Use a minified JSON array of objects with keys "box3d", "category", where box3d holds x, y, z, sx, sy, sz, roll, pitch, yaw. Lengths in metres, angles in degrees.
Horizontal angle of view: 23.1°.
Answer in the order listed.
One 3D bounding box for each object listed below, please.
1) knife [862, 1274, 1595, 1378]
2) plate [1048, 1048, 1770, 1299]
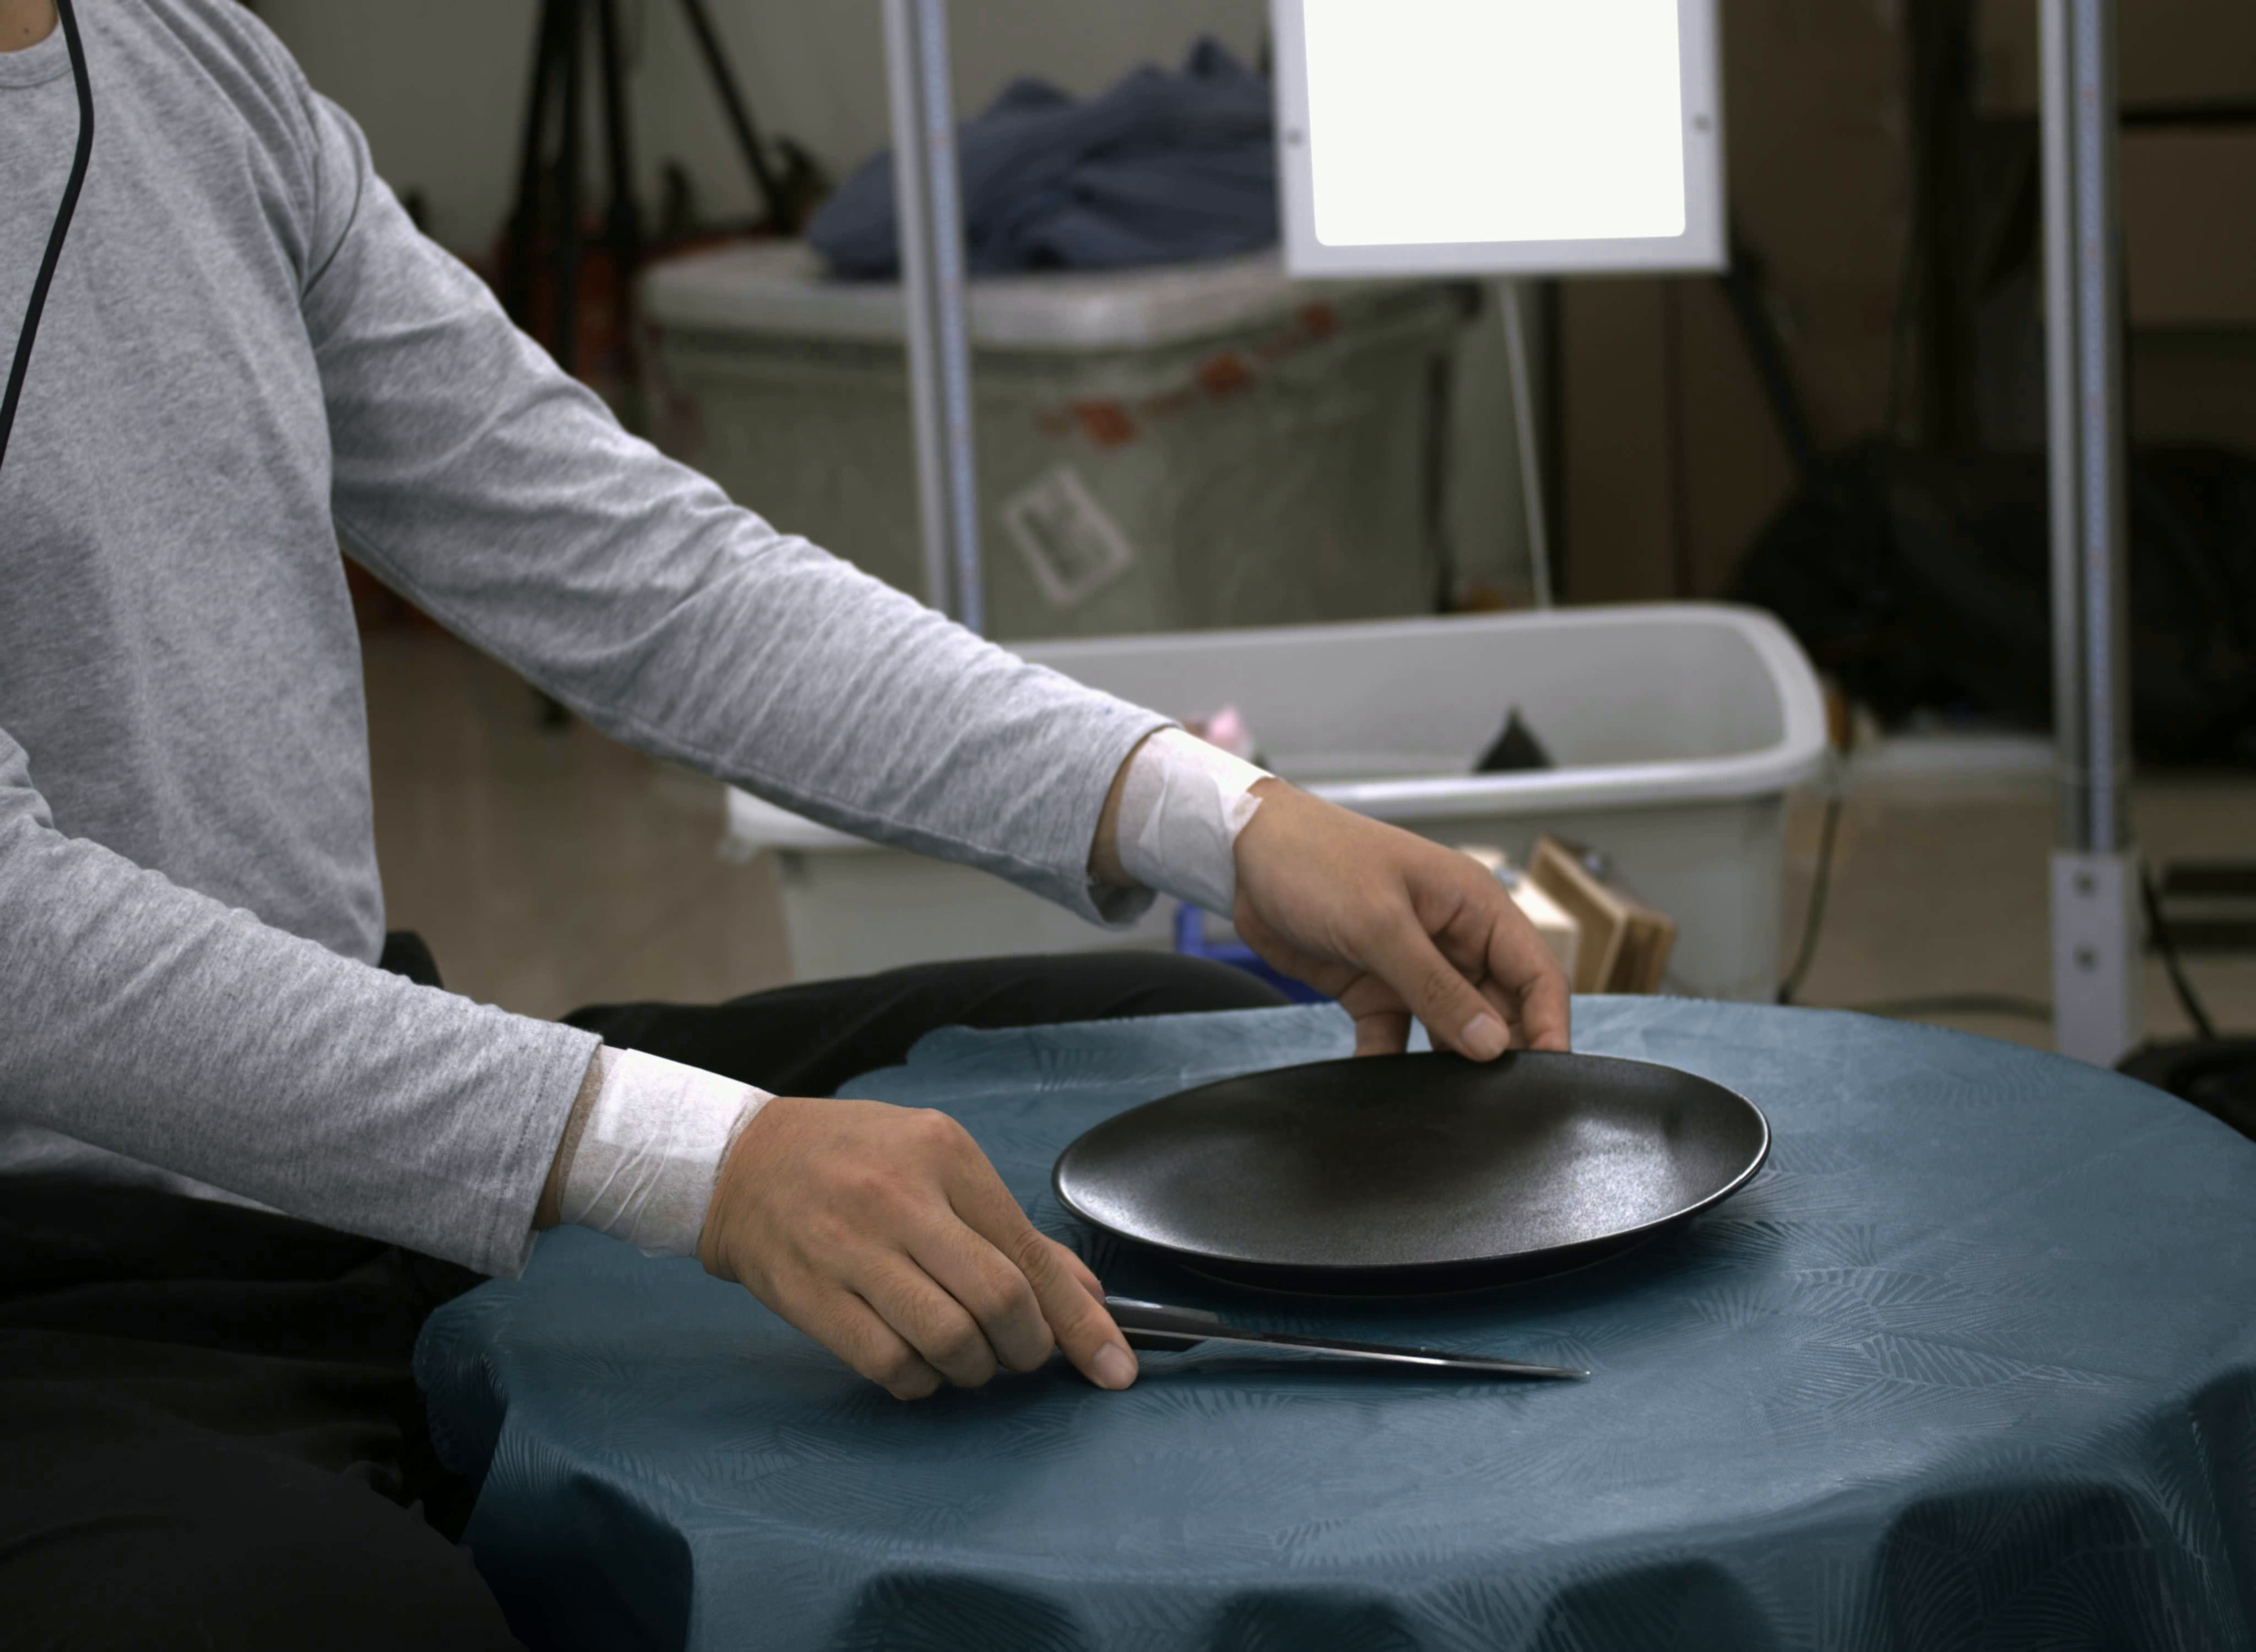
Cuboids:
[{"box3d":[0.028,0.159,1.715,0.241,0.016,0.024,5,9,17],"category":"knife"},{"box3d":[0.095,0.119,1.851,0.244,0.023,0.244,-5,14,0],"category":"plate"}]
